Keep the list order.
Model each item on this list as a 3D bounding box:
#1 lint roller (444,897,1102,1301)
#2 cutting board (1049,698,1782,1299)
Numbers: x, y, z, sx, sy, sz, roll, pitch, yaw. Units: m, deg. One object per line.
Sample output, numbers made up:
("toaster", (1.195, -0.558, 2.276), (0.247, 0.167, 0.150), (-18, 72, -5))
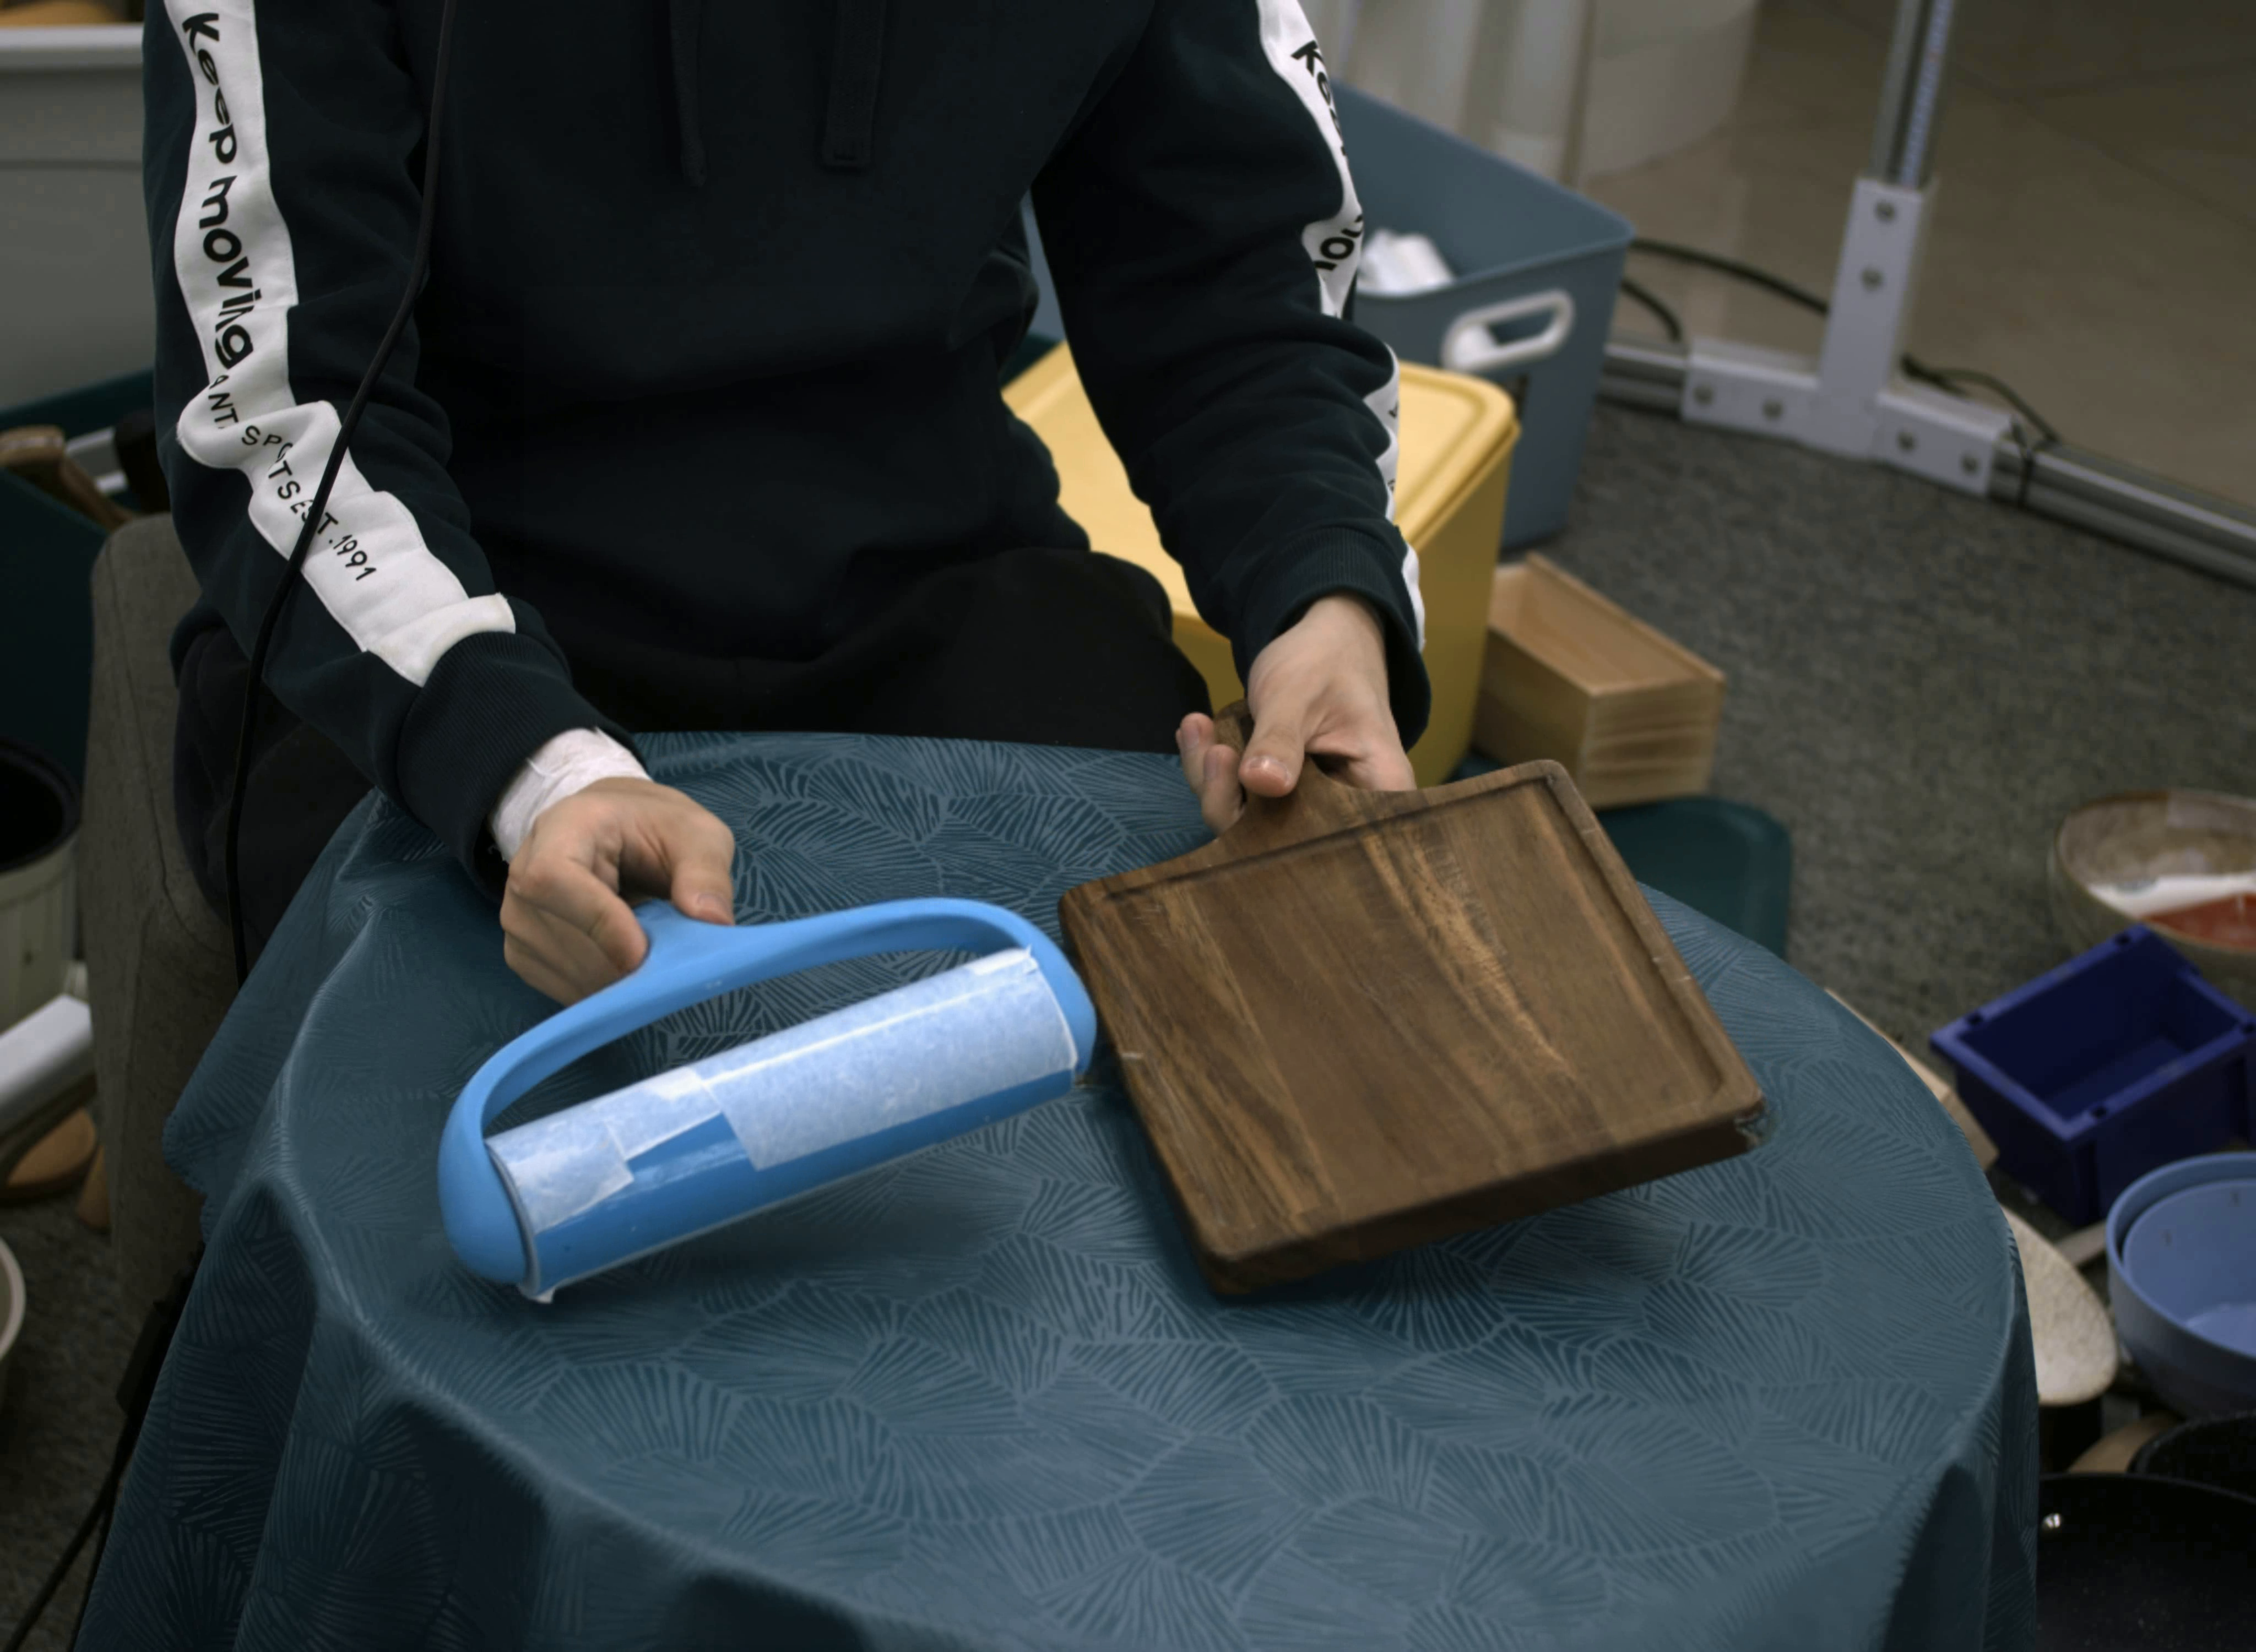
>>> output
("lint roller", (-0.142, 0.065, 1.764), (0.228, 0.067, 0.182), (-23, 39, -21))
("cutting board", (0.083, 0.041, 1.890), (0.200, 0.023, 0.355), (-16, 30, -6))
